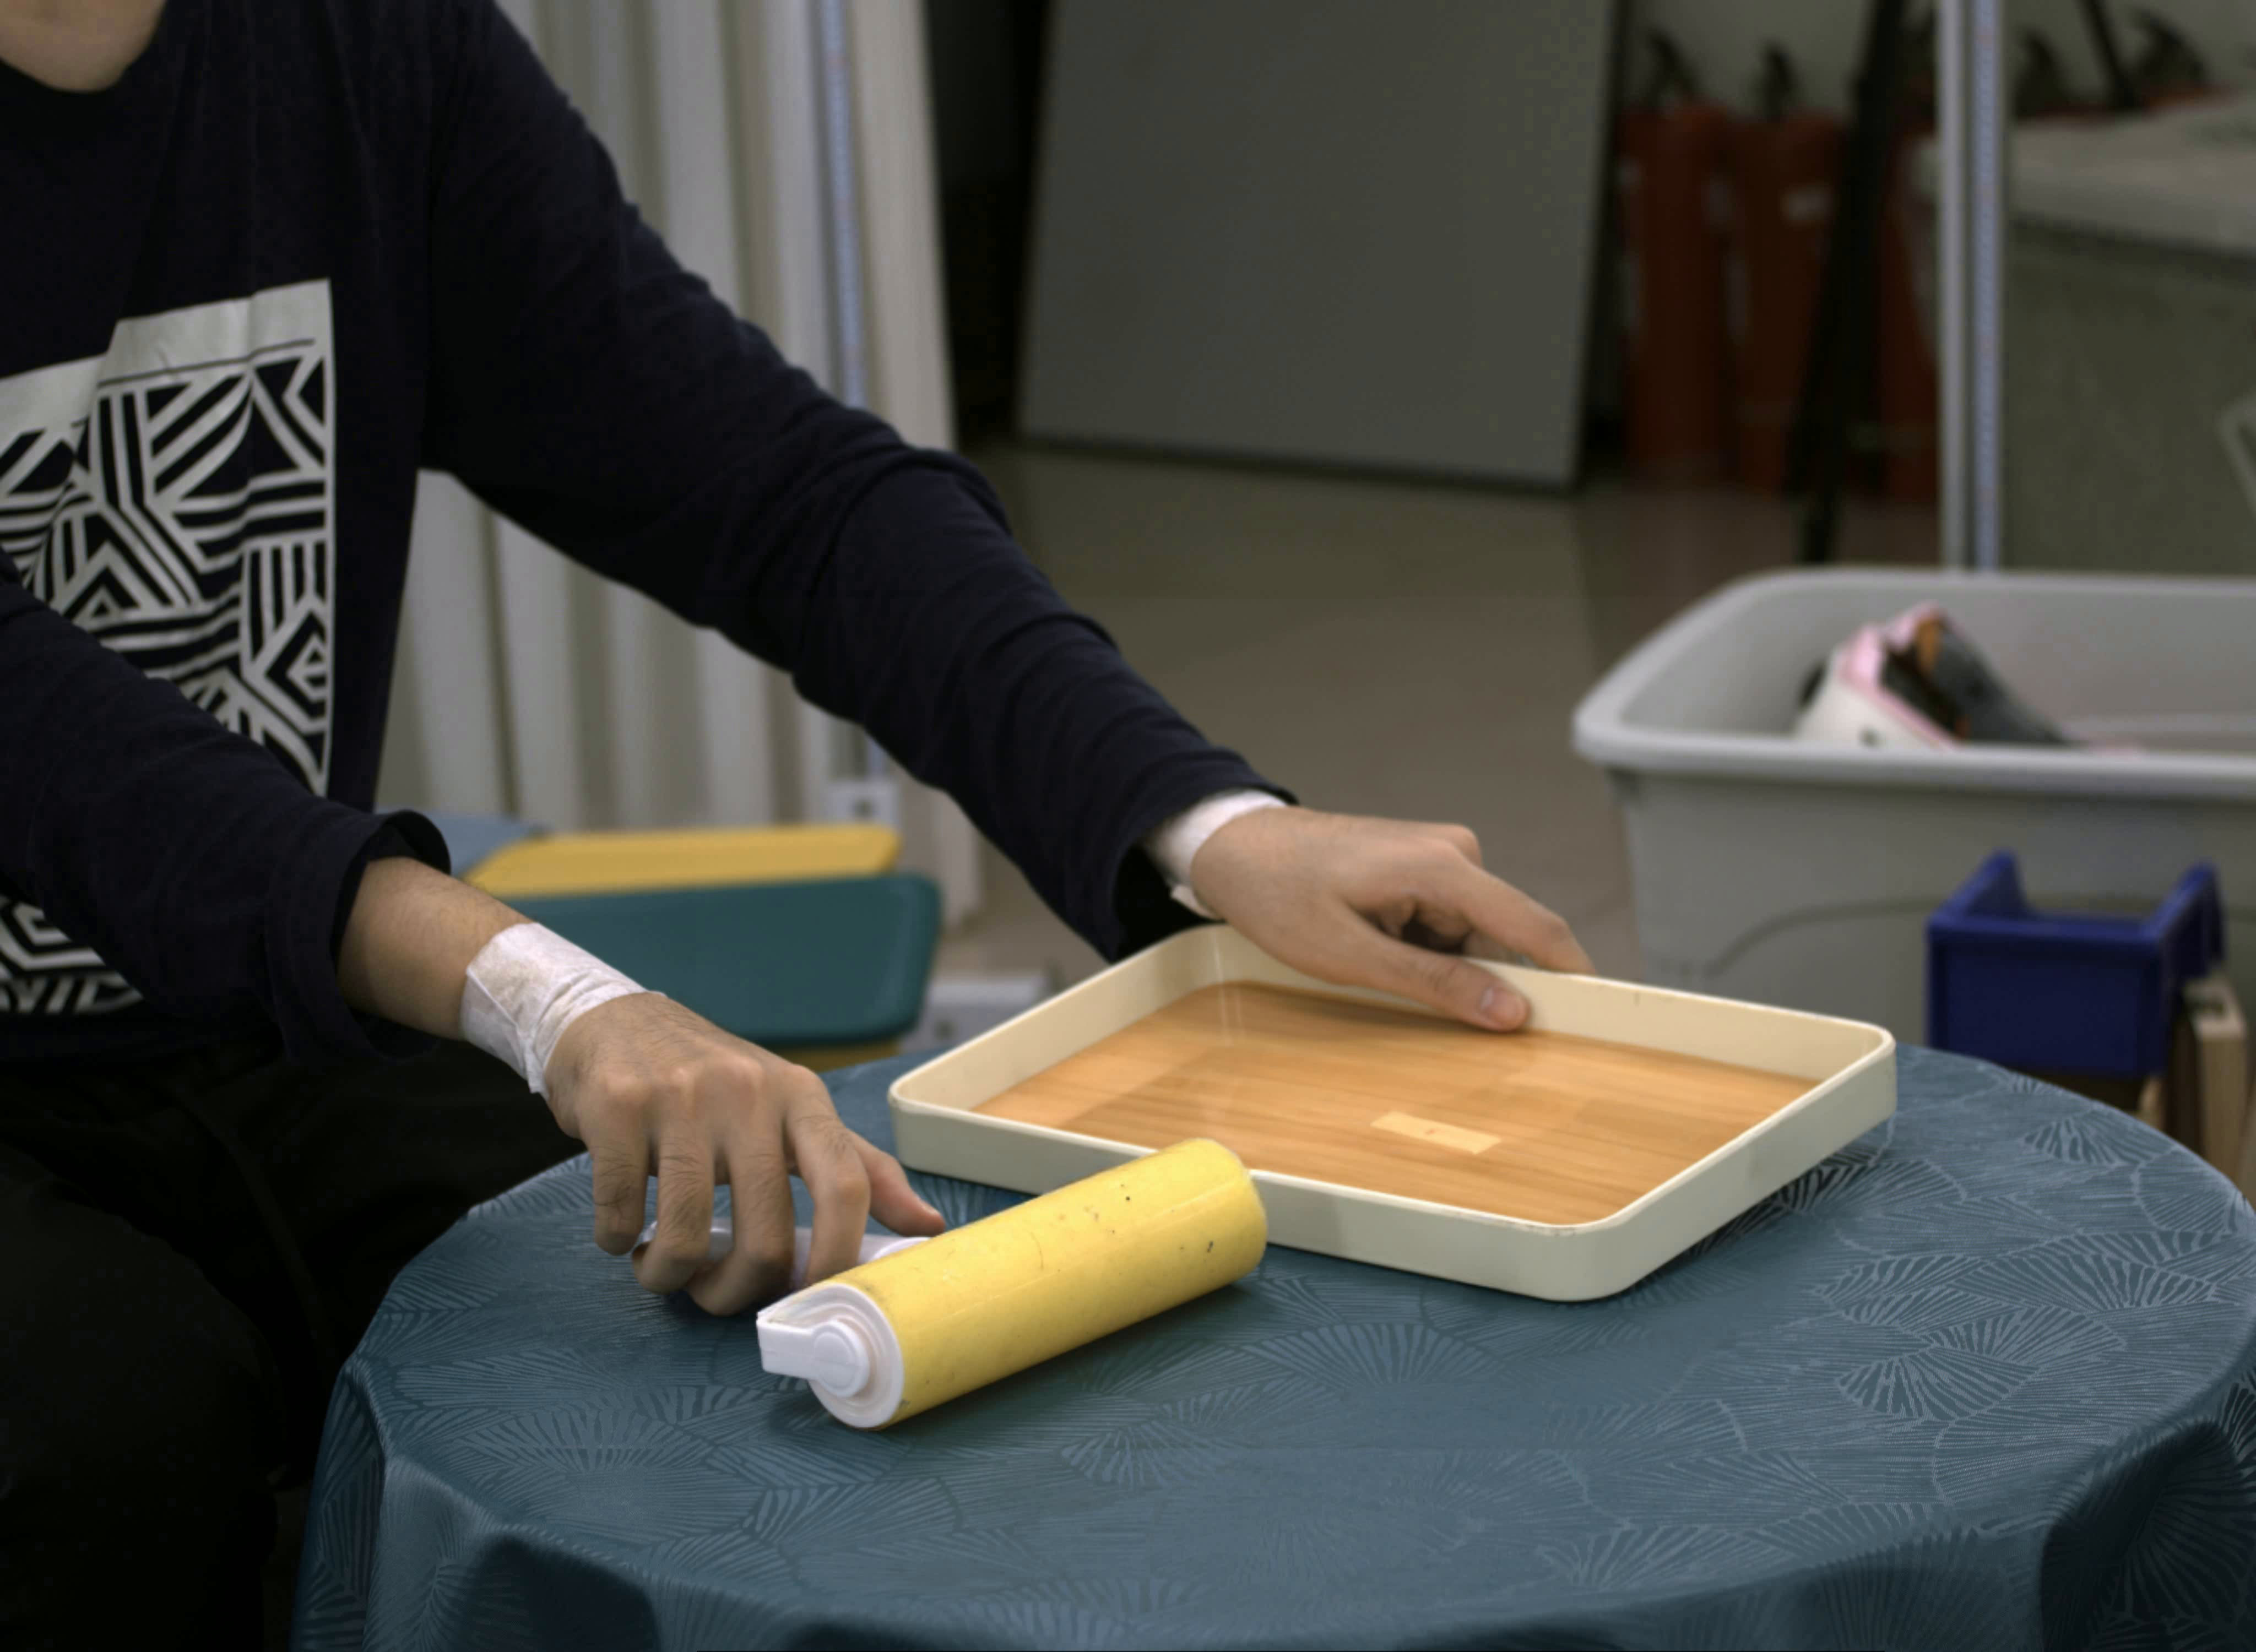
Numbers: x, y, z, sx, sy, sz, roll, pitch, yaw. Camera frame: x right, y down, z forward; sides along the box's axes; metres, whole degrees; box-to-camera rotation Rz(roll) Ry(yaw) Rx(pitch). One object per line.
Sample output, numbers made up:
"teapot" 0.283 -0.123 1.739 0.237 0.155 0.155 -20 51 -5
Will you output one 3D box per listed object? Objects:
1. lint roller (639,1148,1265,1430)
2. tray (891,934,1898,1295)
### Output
"lint roller" -0.081 0.128 1.665 0.193 0.052 0.171 13 20 40
"tray" 0.086 0.092 1.784 0.303 0.027 0.188 8 22 41
